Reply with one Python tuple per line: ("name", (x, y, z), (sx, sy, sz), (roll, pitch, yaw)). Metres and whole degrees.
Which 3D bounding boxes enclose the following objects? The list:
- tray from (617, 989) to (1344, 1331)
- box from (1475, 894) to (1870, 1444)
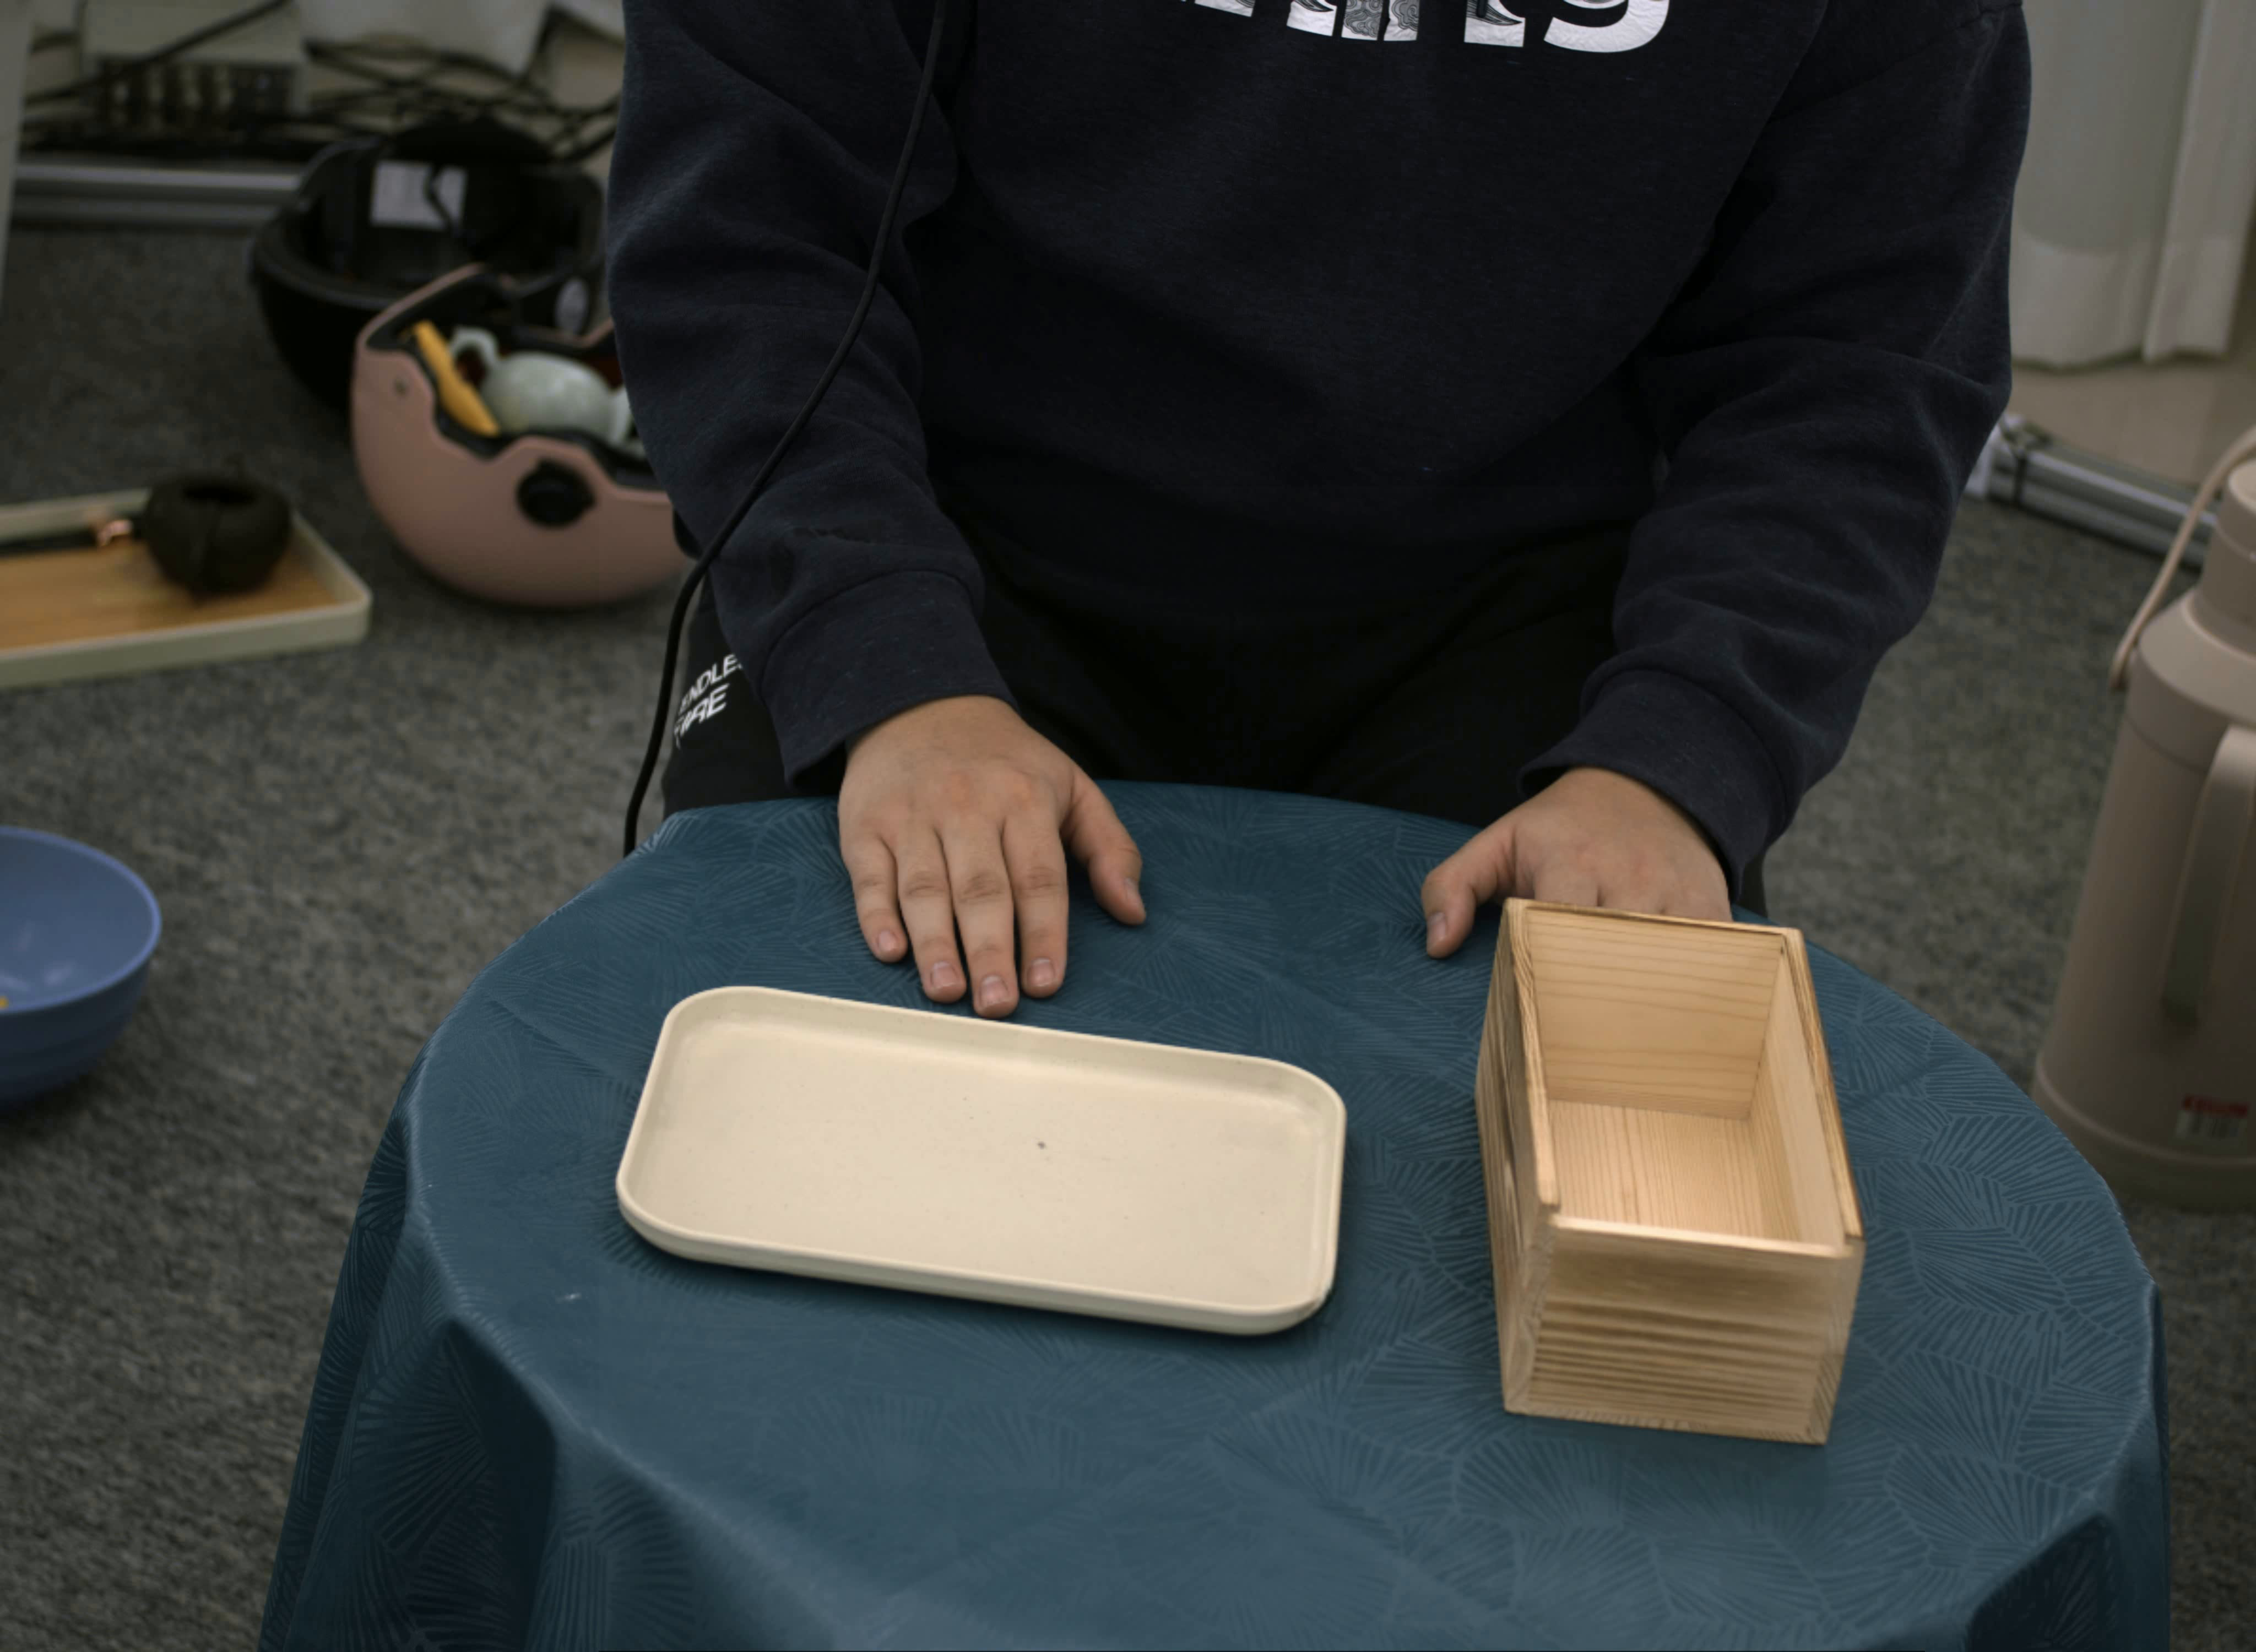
("tray", (-0.047, 0.113, 1.796), (0.239, 0.017, 0.172), (8, 26, 1))
("box", (0.178, 0.111, 1.784), (0.107, 0.080, 0.212), (6, 26, -3))
